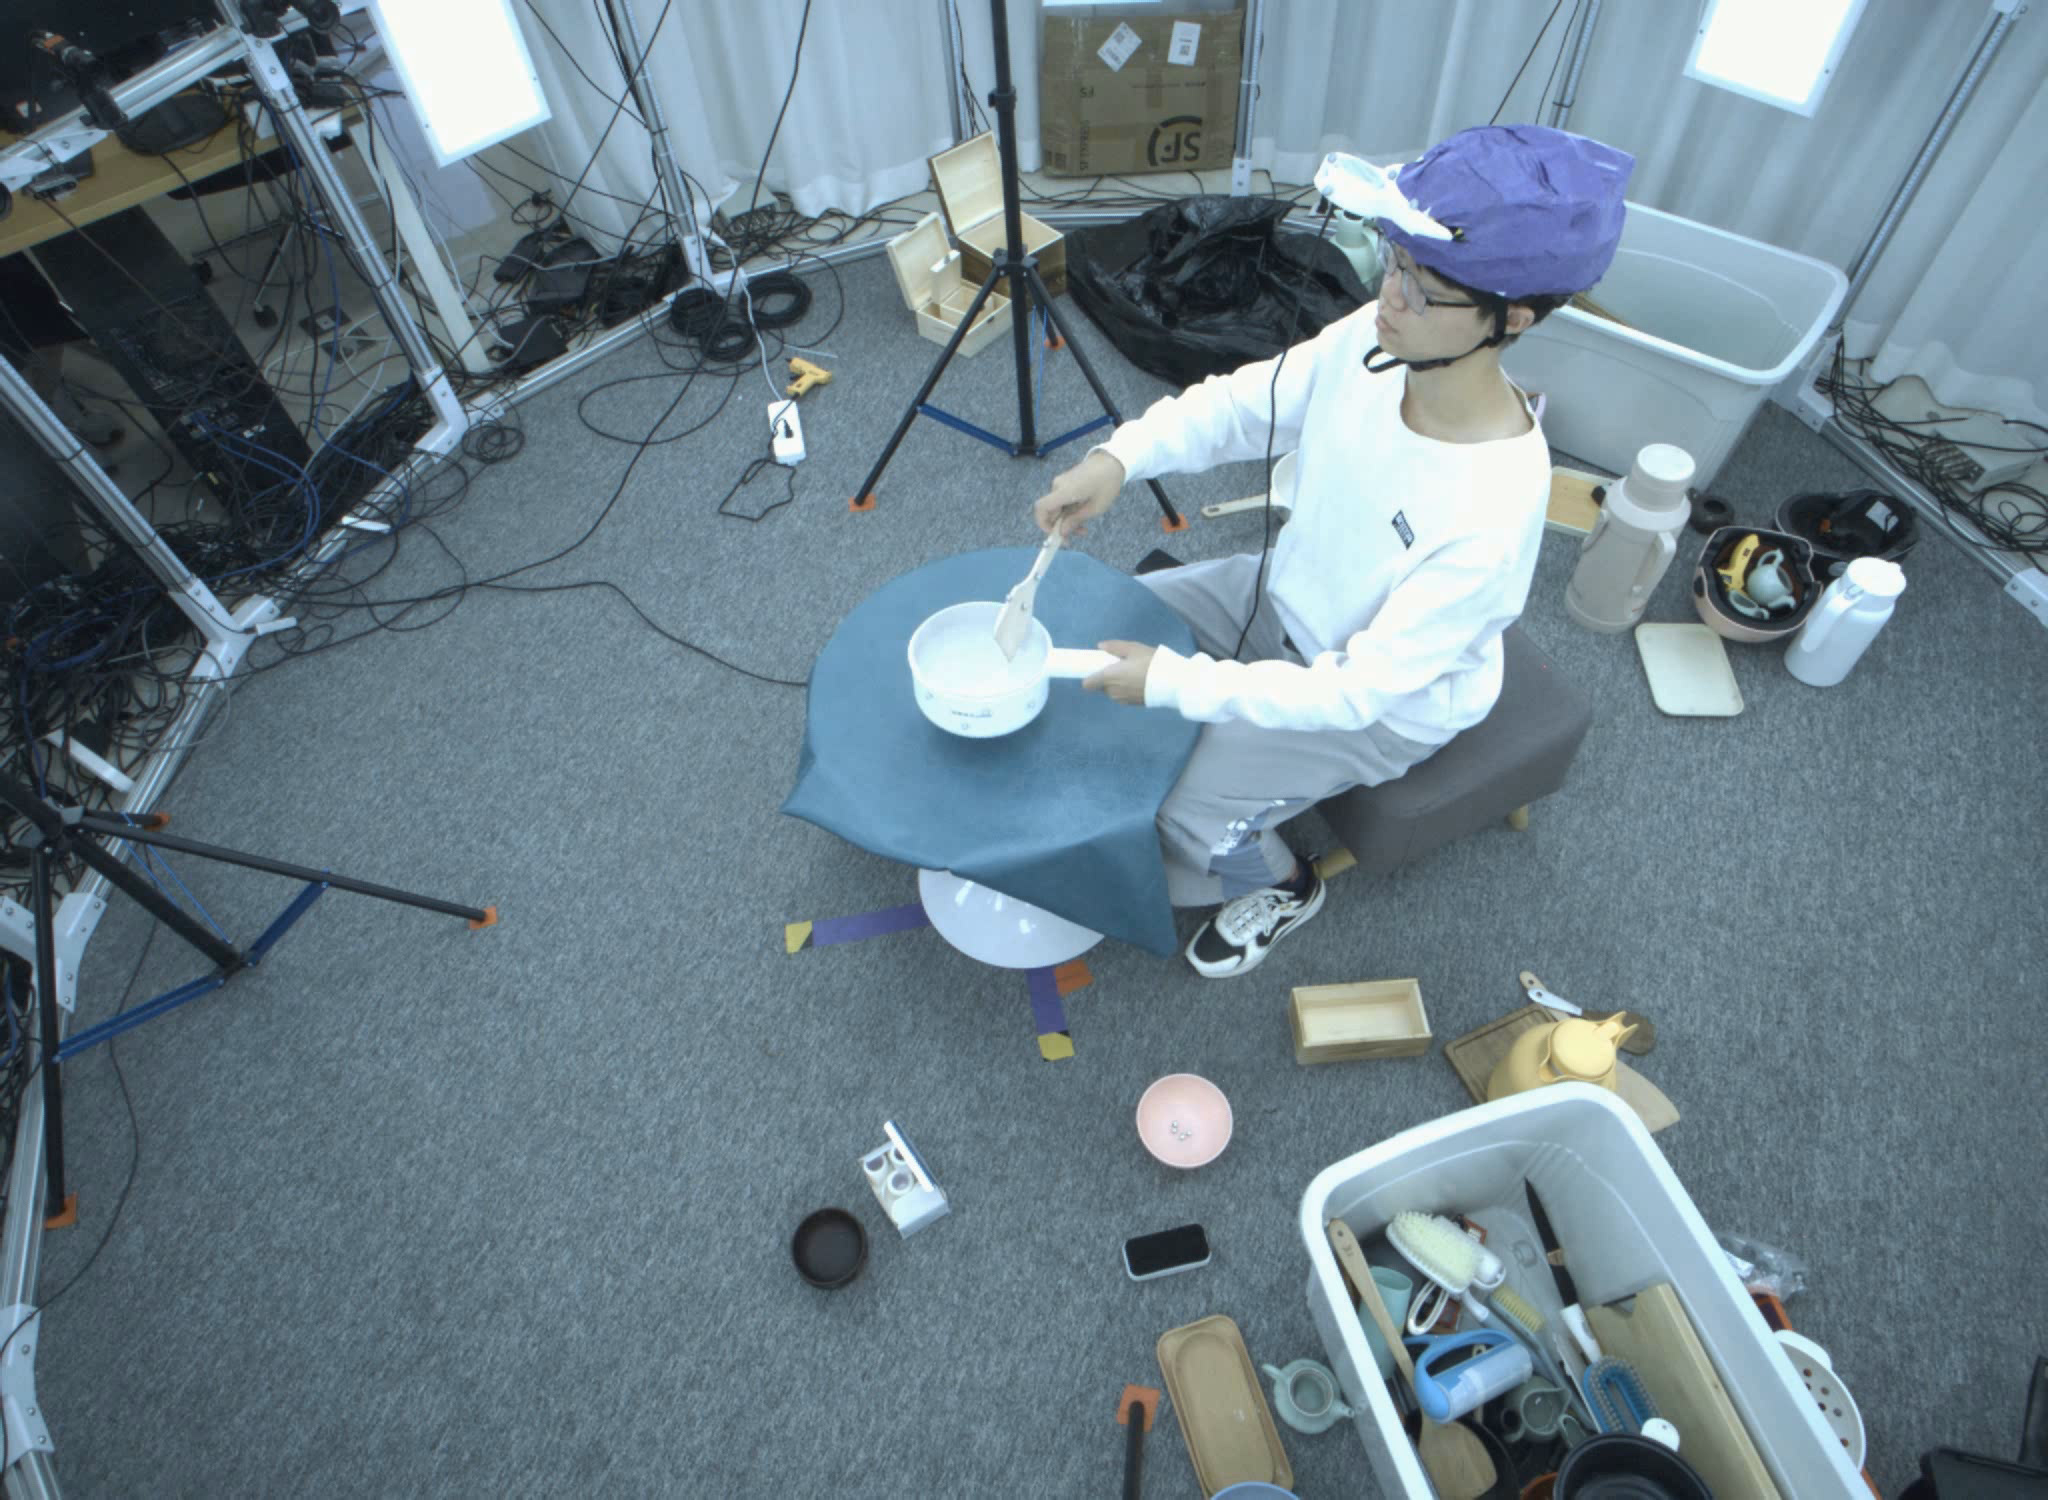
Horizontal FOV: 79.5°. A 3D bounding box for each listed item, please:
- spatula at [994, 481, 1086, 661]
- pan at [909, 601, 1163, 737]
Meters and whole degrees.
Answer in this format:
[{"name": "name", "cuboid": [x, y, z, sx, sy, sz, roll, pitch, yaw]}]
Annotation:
[{"name": "spatula", "cuboid": [0.025, -0.262, 1.725, 0.010, 0.073, 0.293, 14, 67, 27]}, {"name": "pan", "cuboid": [0.017, -0.105, 1.740, 0.355, 0.103, 0.199, 4, 48, 1]}]
